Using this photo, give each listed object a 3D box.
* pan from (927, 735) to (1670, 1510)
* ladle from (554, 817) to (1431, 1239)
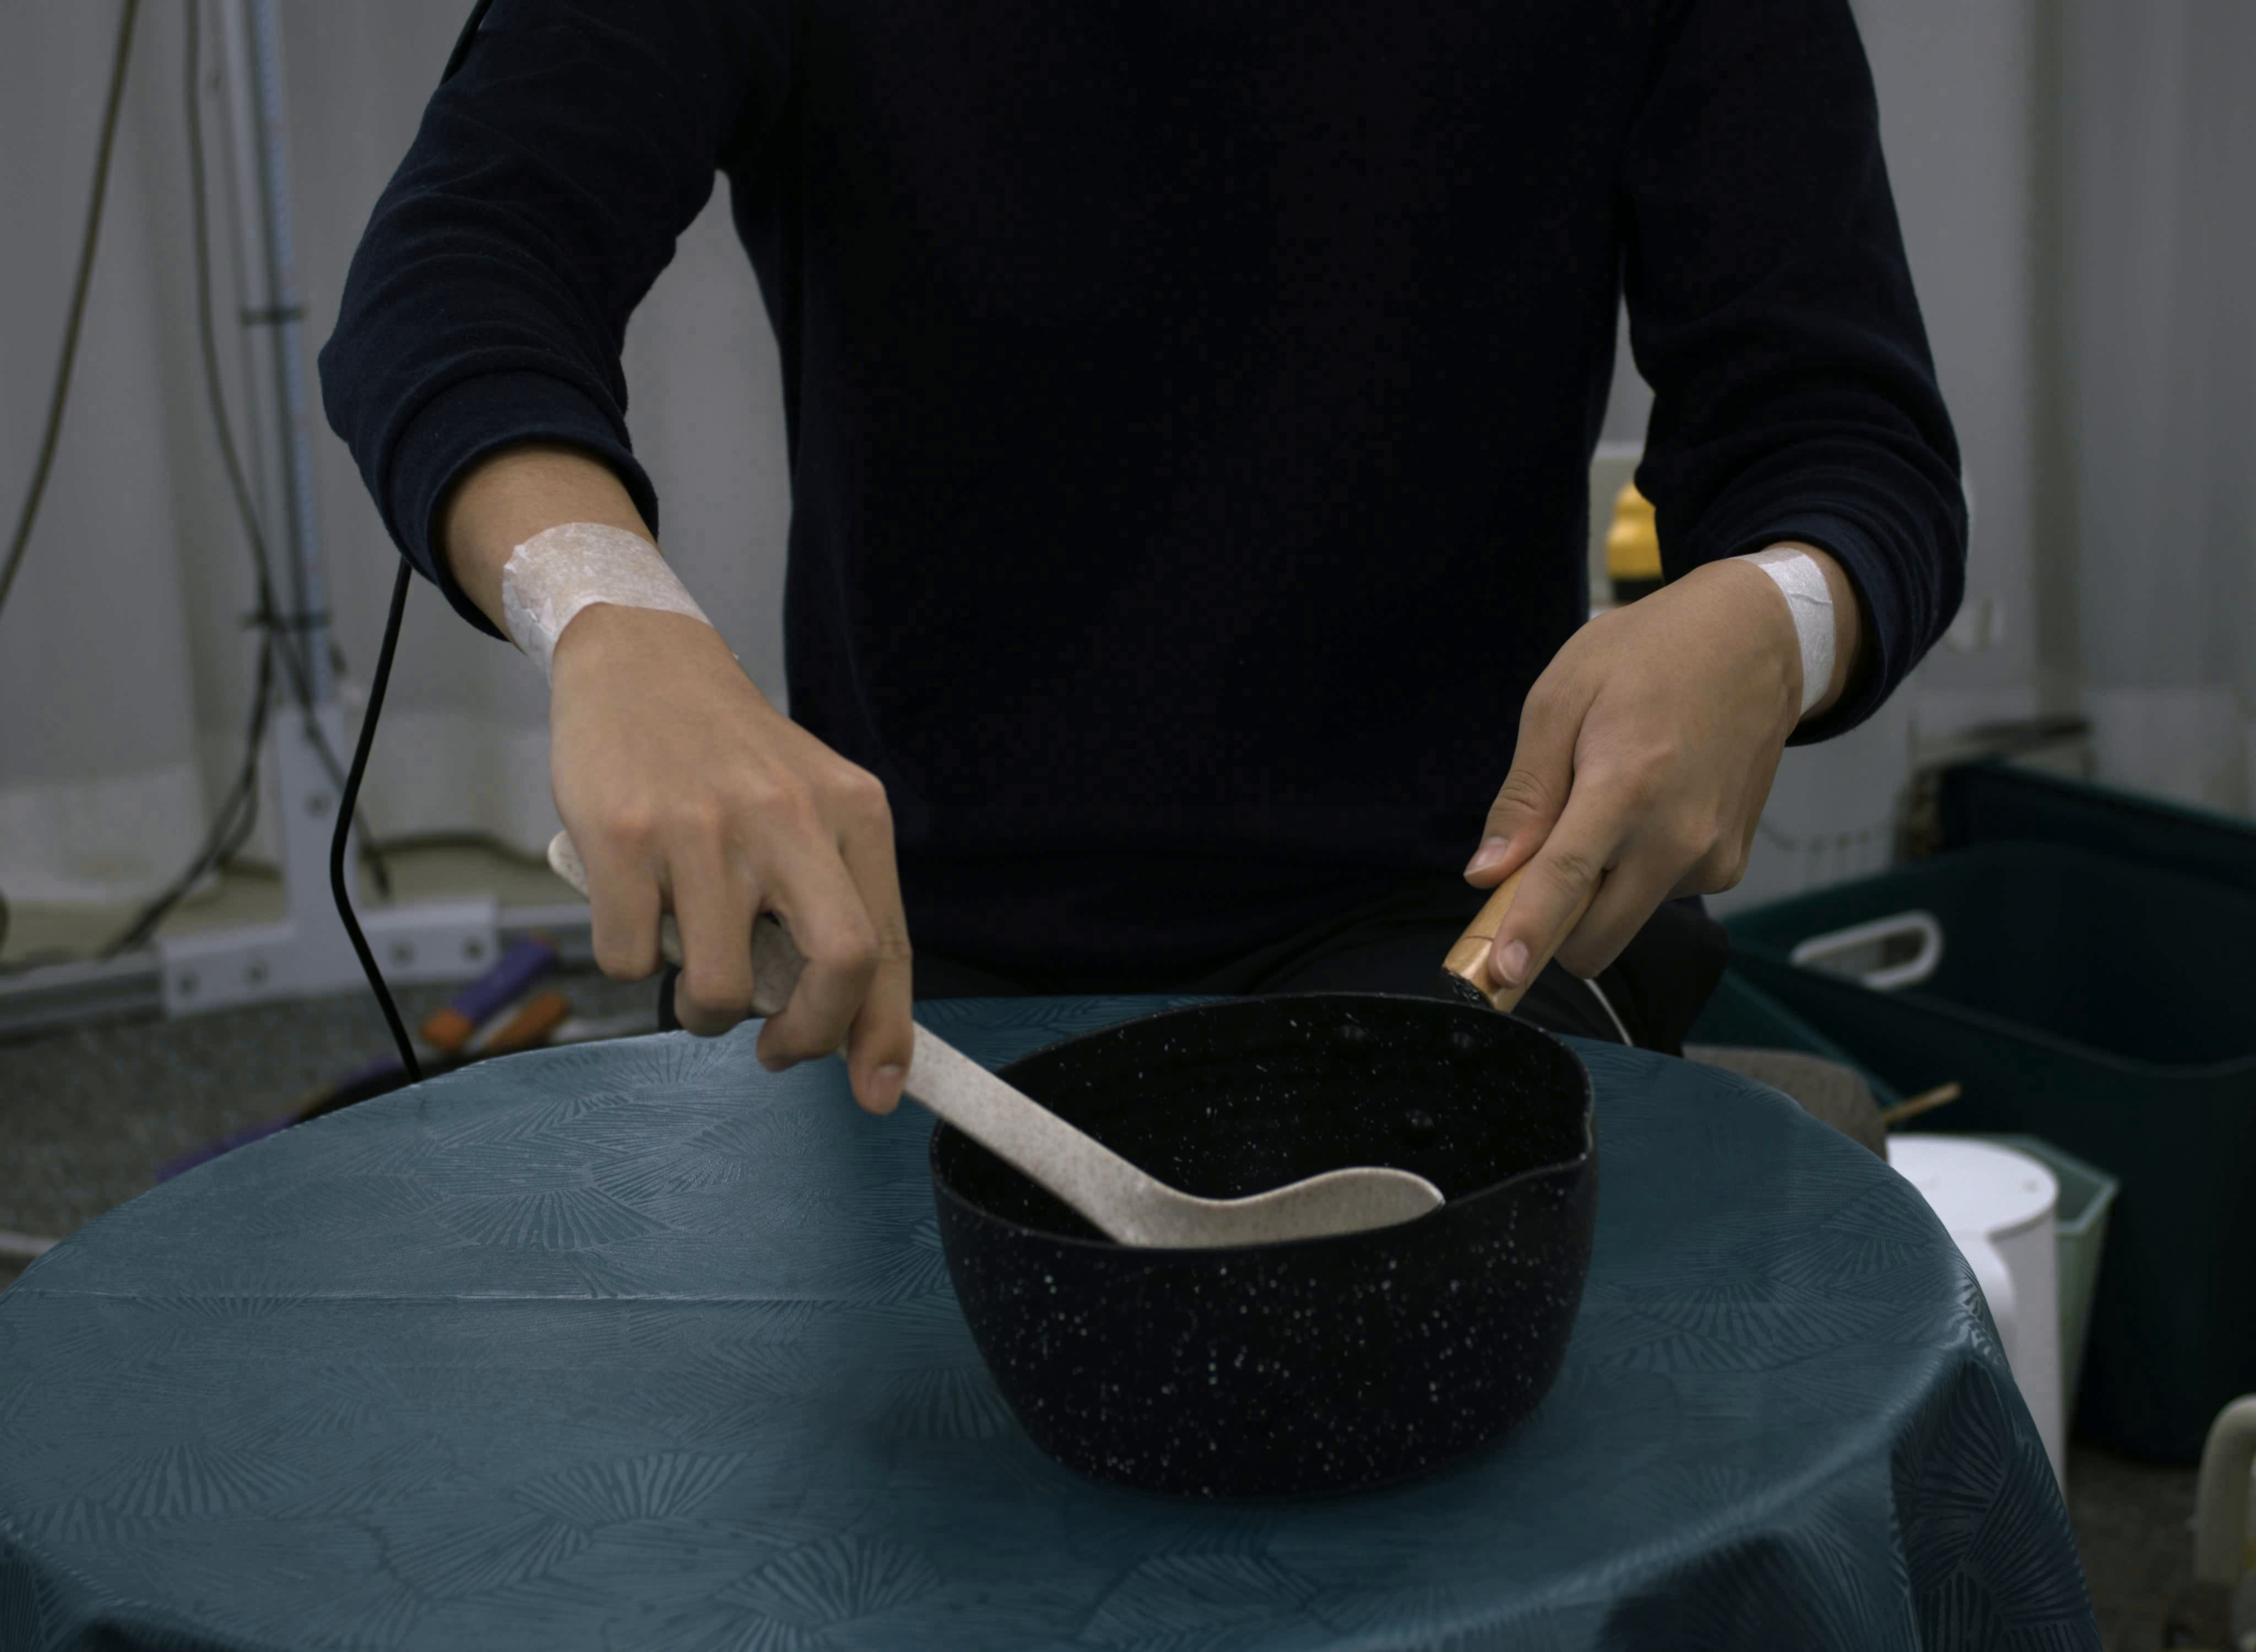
[{"bbox_3d":[0.078,0.080,1.574,0.208,0.107,0.344,3,22,30],"label":"pan"},{"bbox_3d":[-0.035,0.068,1.491,0.274,0.090,0.069,34,-25,-3],"label":"ladle"}]
